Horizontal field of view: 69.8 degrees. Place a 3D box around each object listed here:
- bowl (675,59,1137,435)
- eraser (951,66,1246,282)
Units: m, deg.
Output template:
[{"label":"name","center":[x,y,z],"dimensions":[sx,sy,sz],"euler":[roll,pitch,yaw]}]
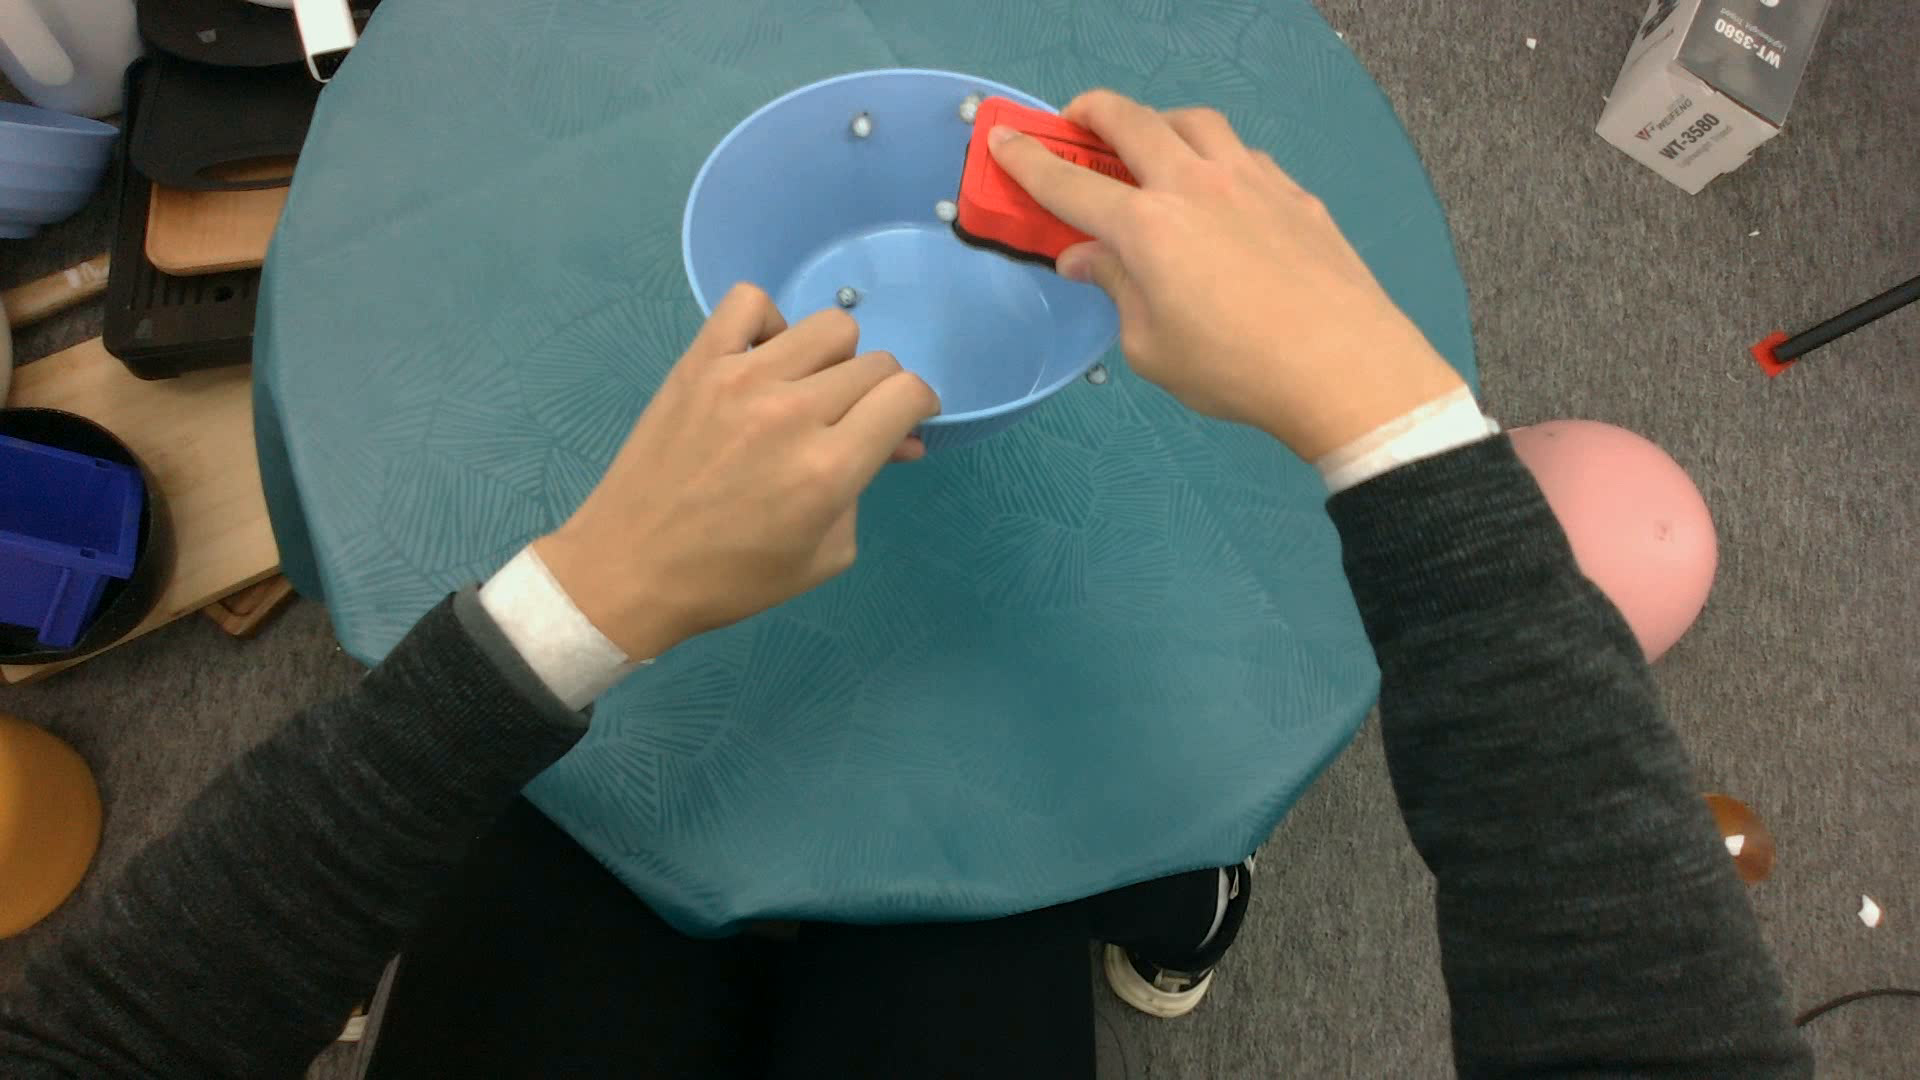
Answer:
[{"label":"bowl","center":[-0.022,-0.107,0.547],"dimensions":[0.176,0.070,0.177],"euler":[2,58,-3]},{"label":"eraser","center":[0.053,-0.139,0.522],"dimensions":[0.108,0.023,0.059],"euler":[16,57,-7]}]
